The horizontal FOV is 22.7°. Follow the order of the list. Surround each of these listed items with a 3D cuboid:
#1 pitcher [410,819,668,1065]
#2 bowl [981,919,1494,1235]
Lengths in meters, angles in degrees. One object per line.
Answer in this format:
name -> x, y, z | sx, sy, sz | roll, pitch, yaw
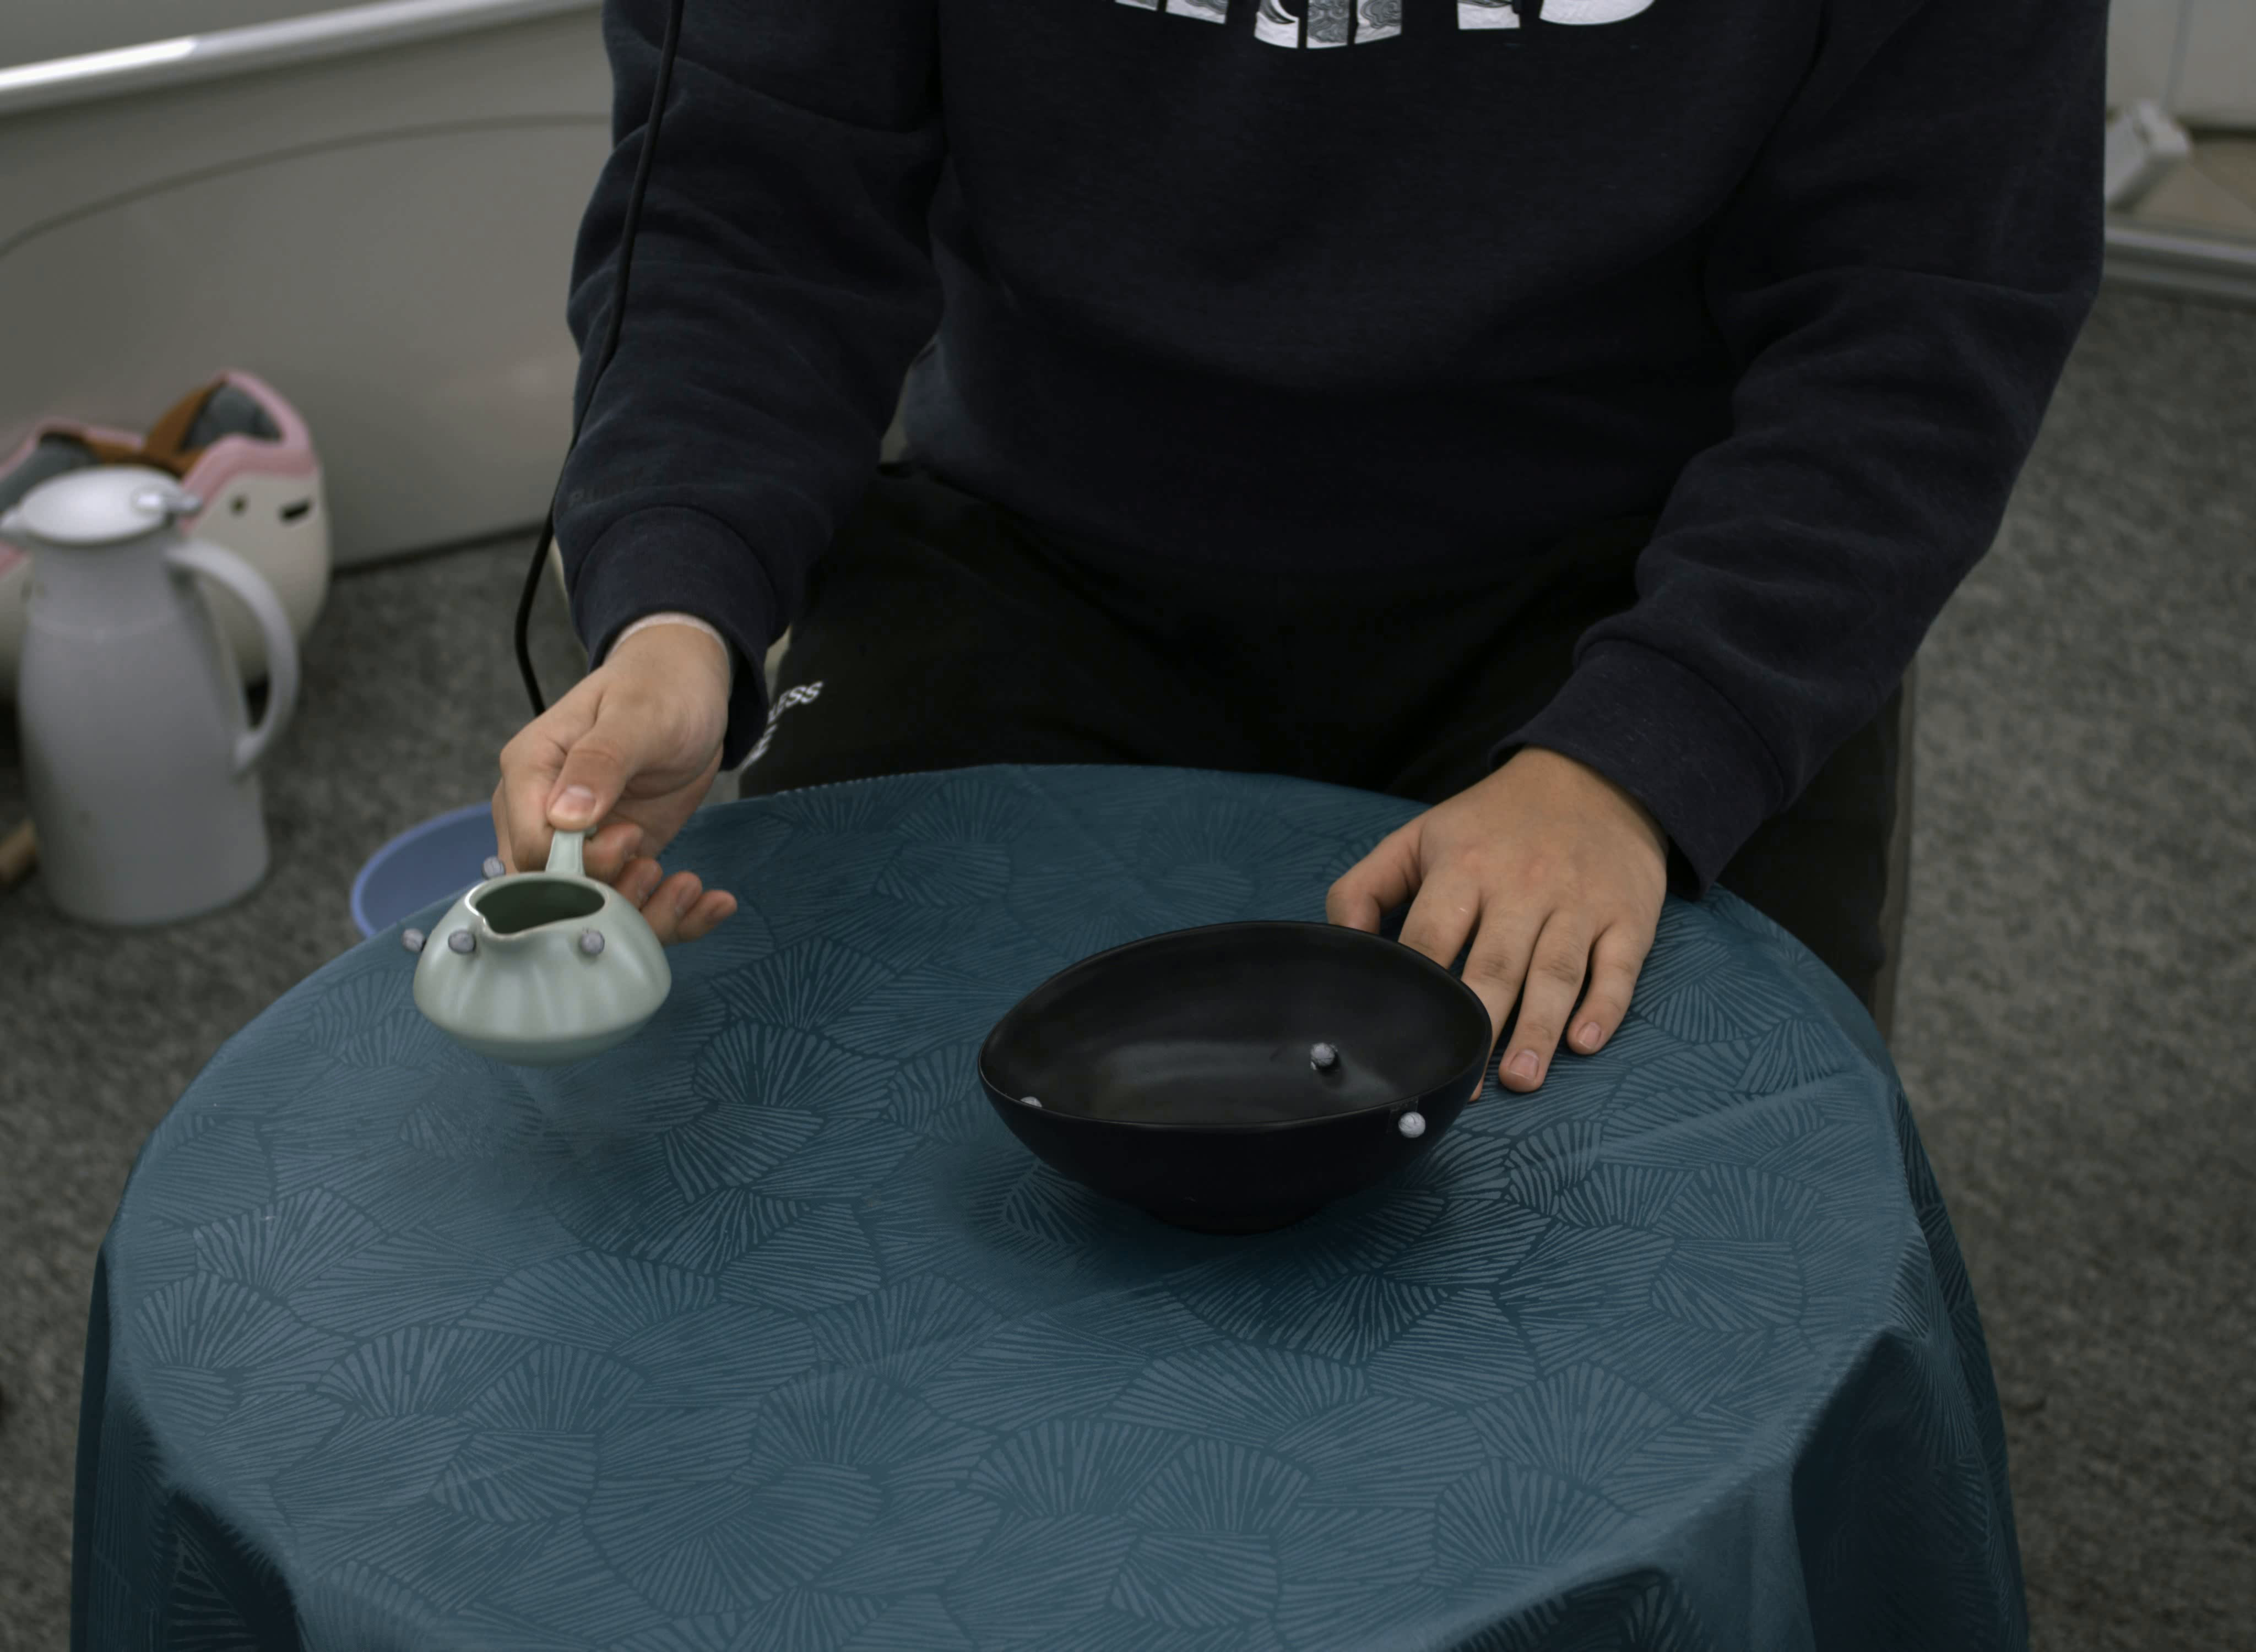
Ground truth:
pitcher -> -0.195, 0.040, 1.884 | 0.085, 0.060, 0.109 | 4, 21, 7
bowl -> 0.036, 0.092, 1.852 | 0.169, 0.066, 0.139 | -2, 26, 3
